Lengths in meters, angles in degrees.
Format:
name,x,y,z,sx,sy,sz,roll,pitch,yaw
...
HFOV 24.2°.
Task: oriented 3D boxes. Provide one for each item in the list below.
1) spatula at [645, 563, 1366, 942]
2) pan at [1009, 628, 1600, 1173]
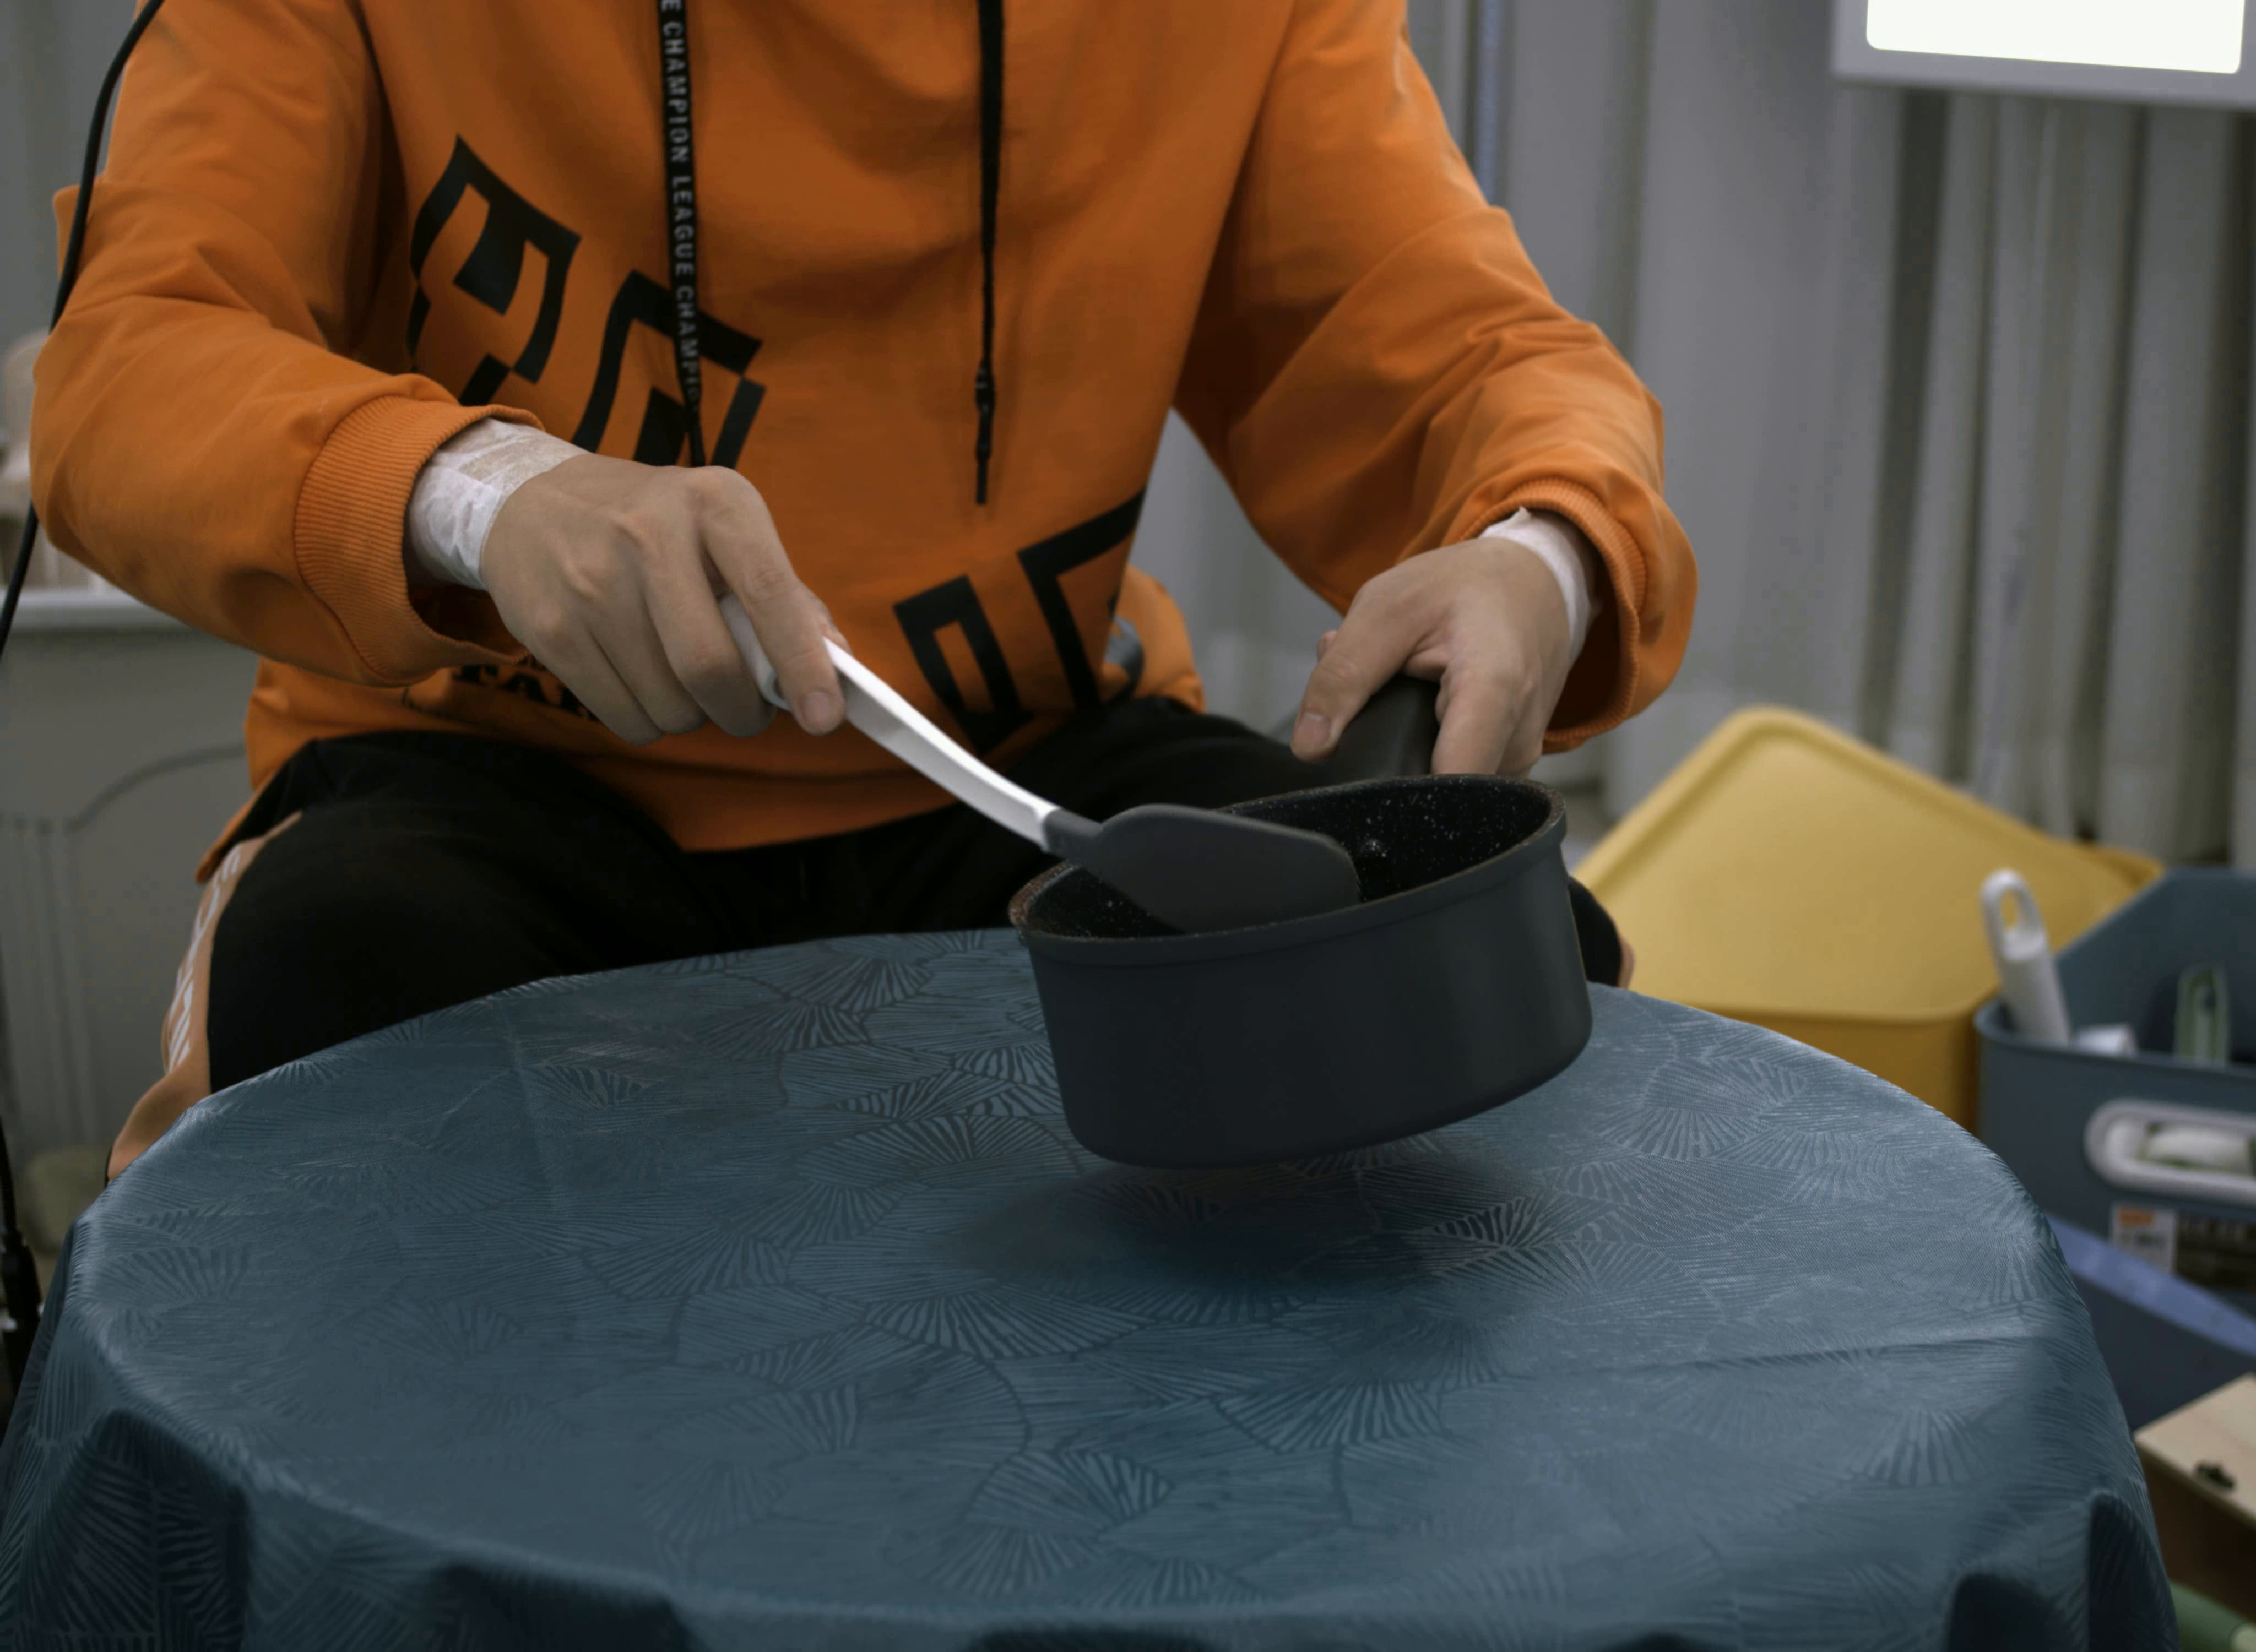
name,x,y,z,sx,sy,sz,roll,pitch,yaw
spatula,-0.041,-0.018,1.593,0.283,0.059,0.032,26,50,36
pan,0.074,0.020,1.662,0.171,0.087,0.328,-7,15,17
